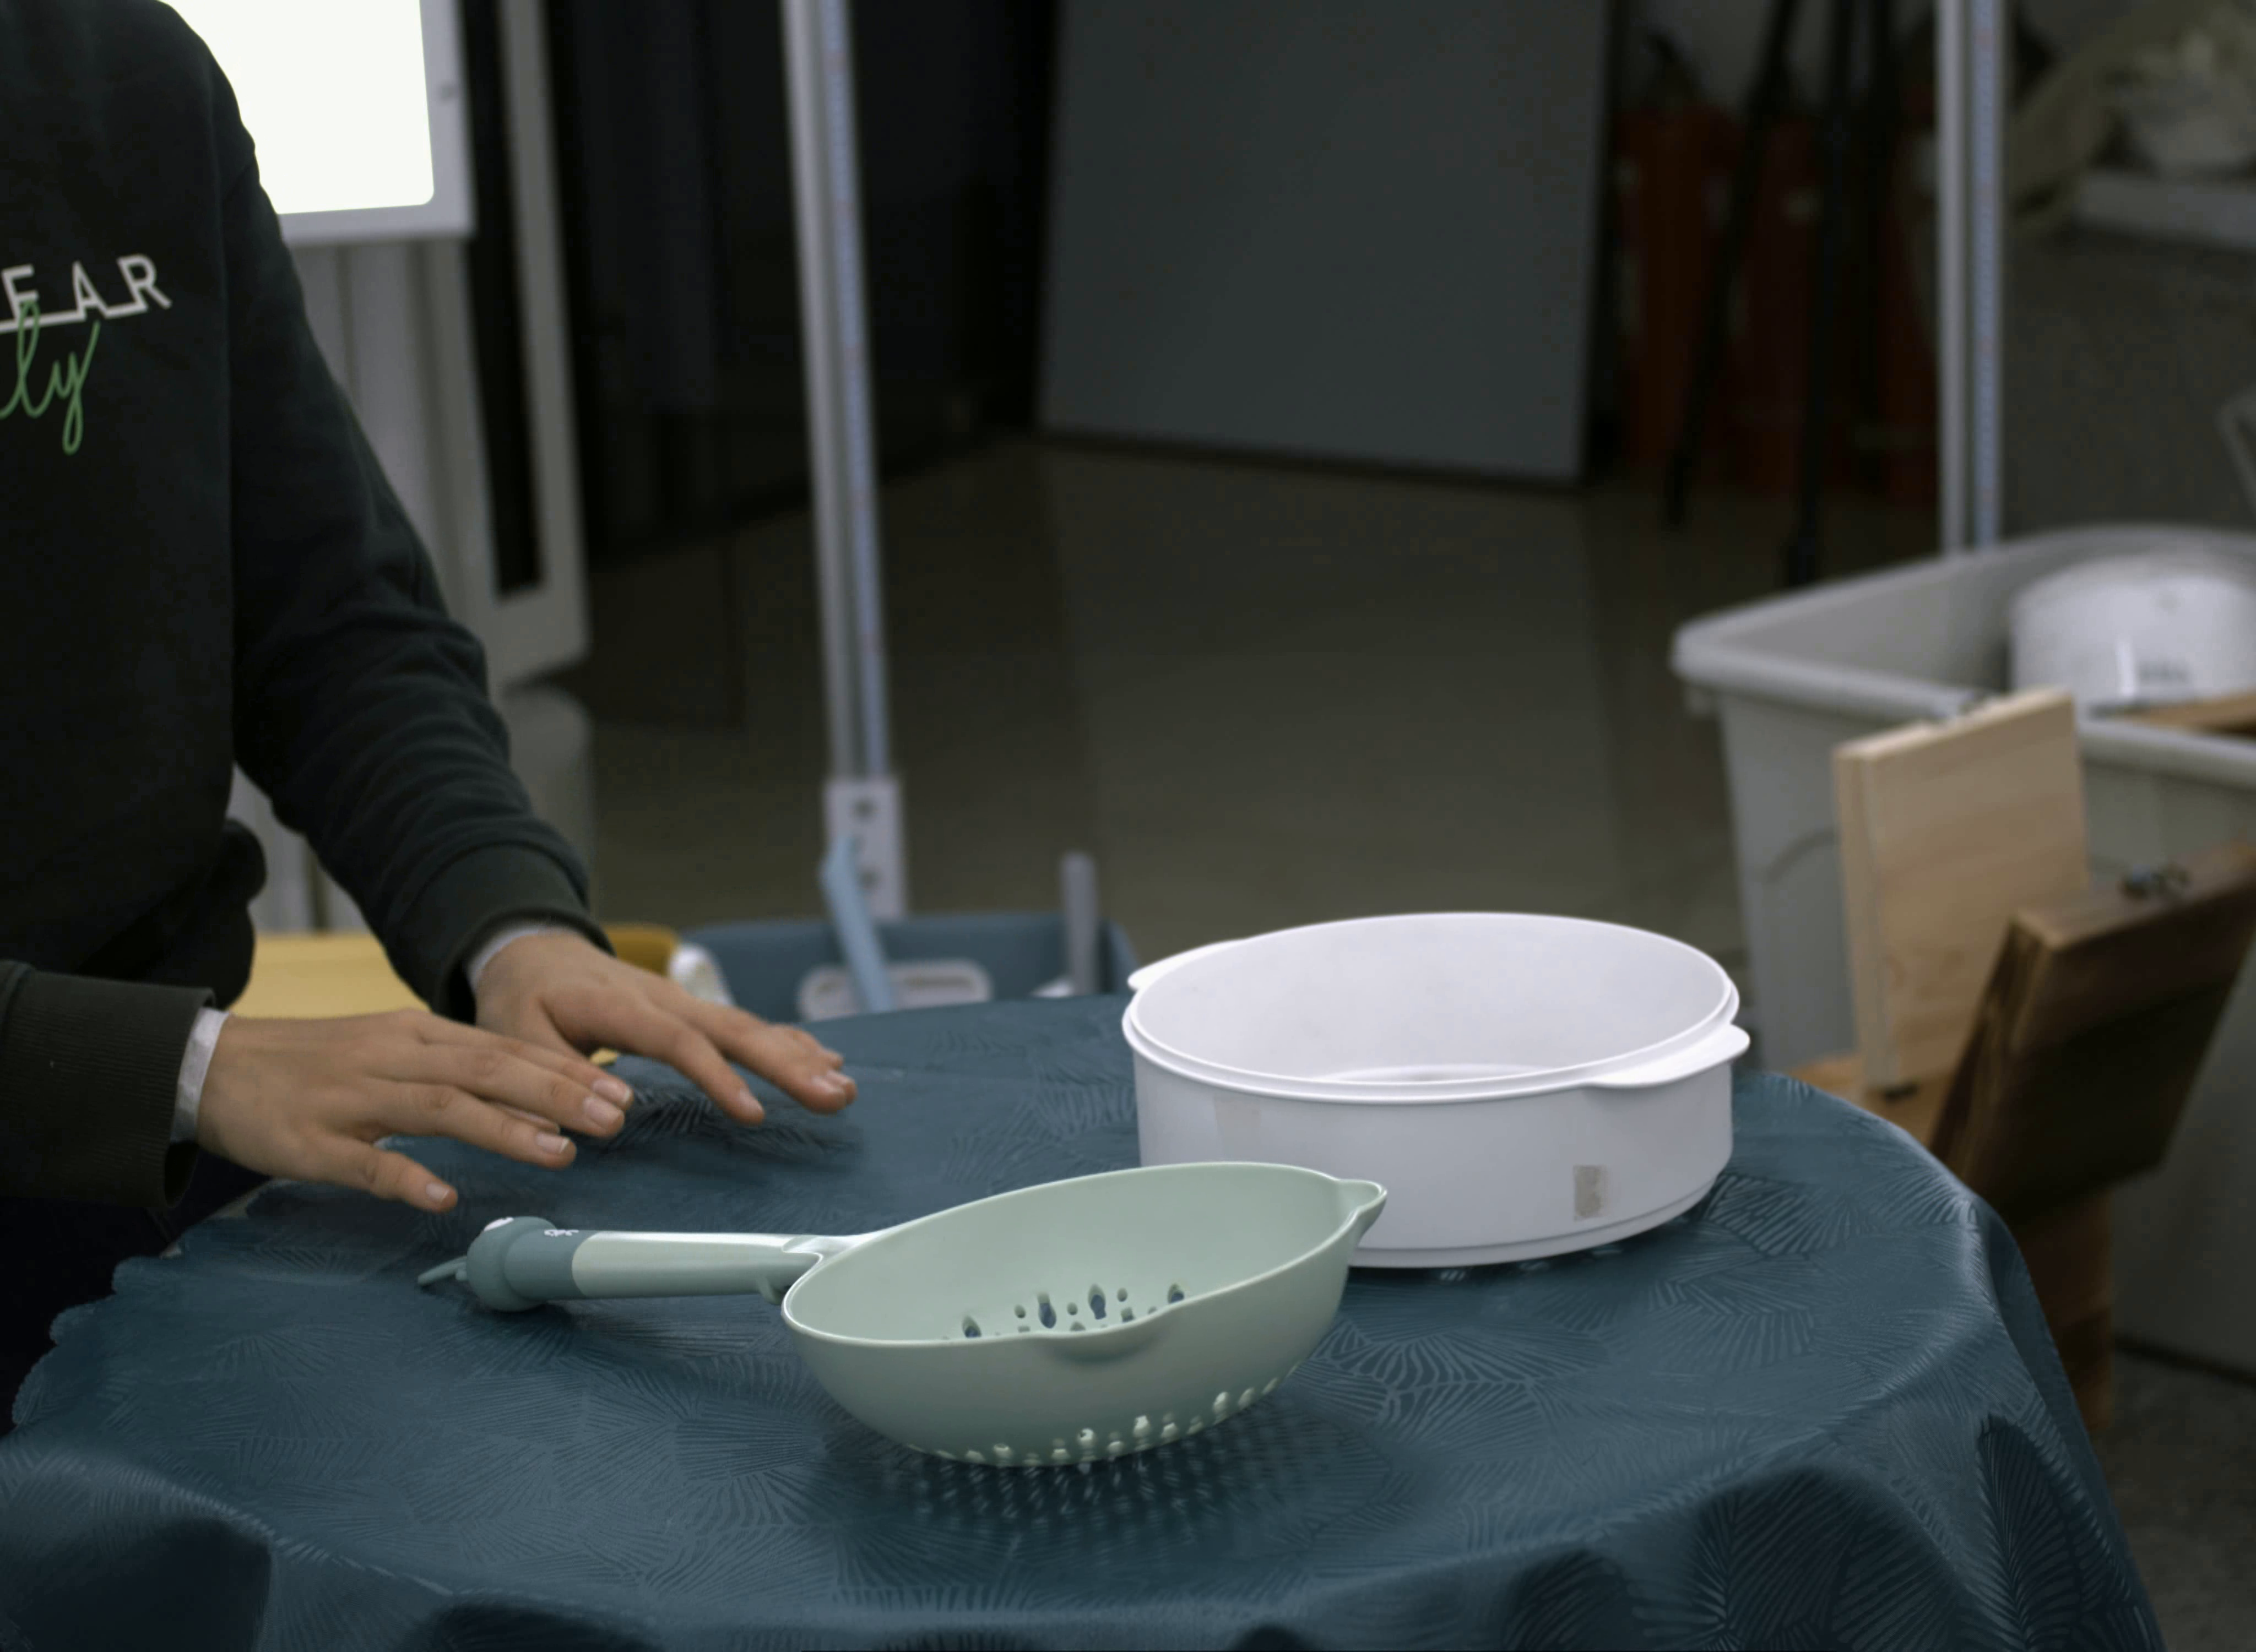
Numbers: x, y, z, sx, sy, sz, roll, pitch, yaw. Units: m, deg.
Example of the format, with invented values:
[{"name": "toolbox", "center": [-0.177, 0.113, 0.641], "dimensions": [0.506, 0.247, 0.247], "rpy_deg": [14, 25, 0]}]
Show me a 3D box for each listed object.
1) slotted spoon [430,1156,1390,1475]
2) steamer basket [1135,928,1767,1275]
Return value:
[{"name": "slotted spoon", "center": [-0.086, 0.136, 1.602], "dimensions": [0.361, 0.076, 0.166], "rpy_deg": [8, 19, 40]}, {"name": "steamer basket", "center": [0.103, 0.089, 1.740], "dimensions": [0.232, 0.070, 0.198], "rpy_deg": [8, 17, 42]}]
